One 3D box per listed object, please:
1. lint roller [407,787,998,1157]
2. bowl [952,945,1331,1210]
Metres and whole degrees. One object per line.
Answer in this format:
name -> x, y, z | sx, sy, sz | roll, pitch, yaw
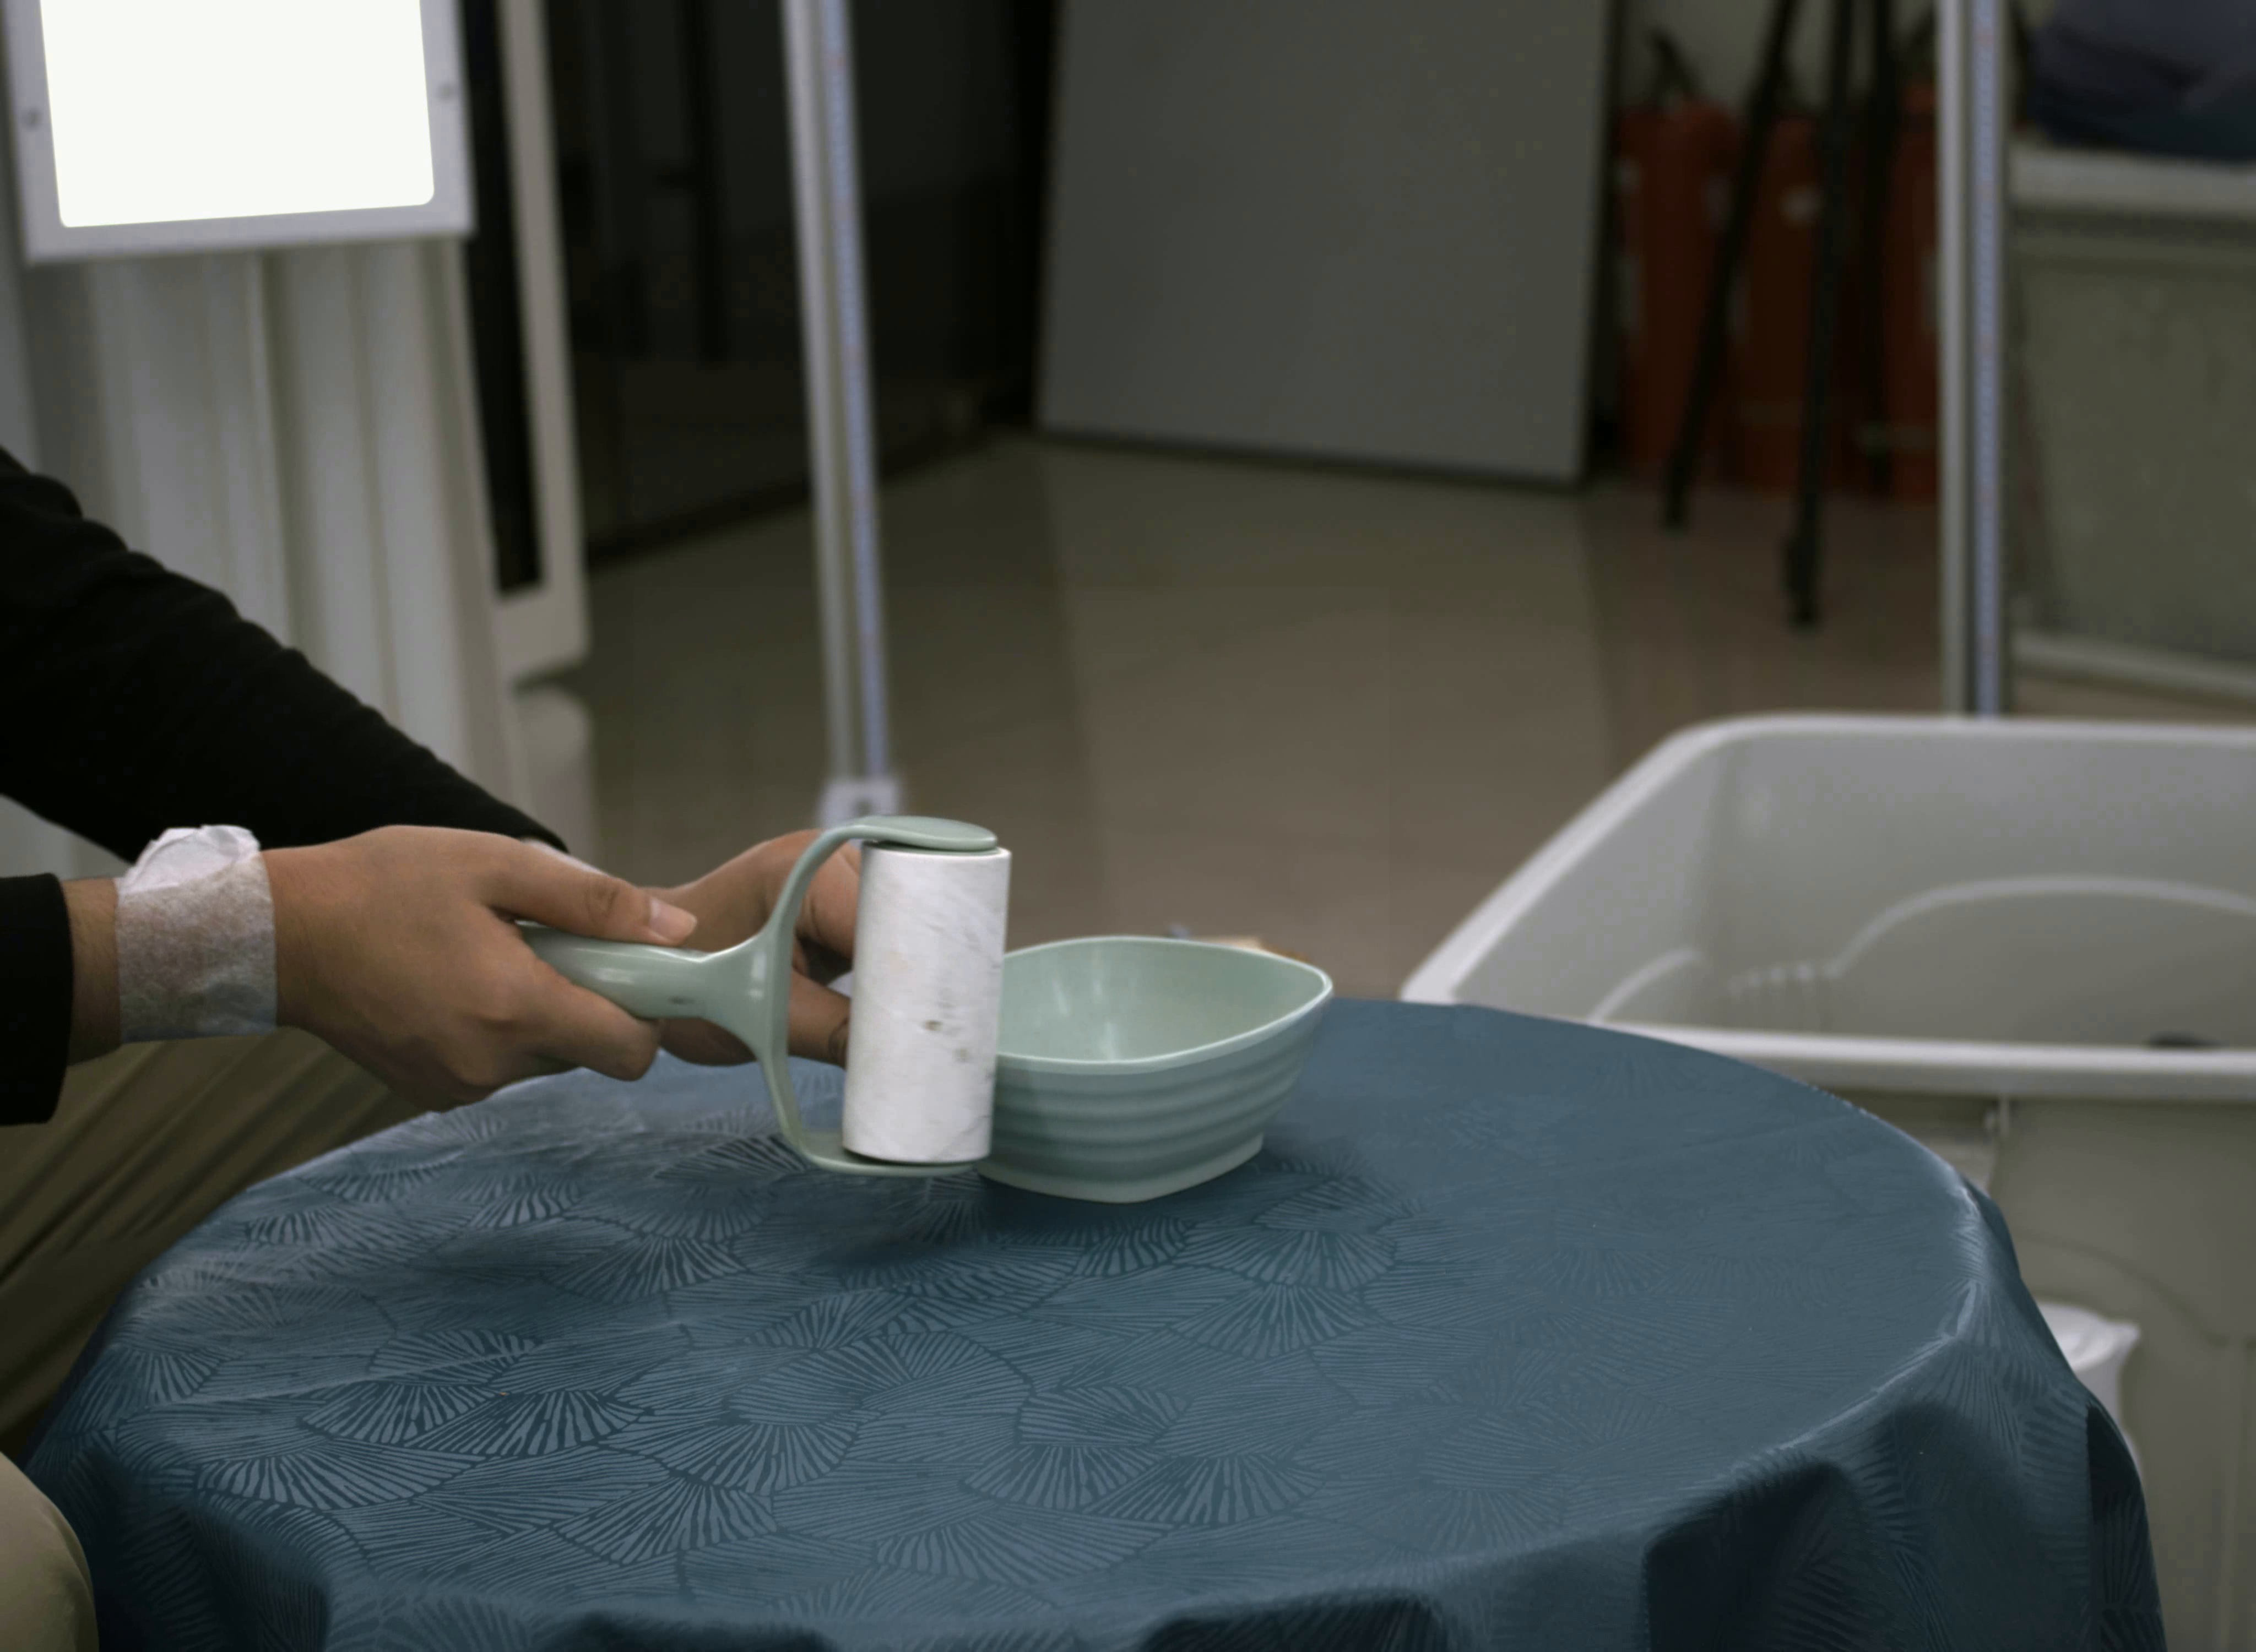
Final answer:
lint roller -> -0.138, 0.042, 1.732 | 0.196, 0.118, 0.048 | 4, 7, 7
bowl -> -0.006, 0.086, 1.797 | 0.149, 0.059, 0.151 | -3, 13, 0
